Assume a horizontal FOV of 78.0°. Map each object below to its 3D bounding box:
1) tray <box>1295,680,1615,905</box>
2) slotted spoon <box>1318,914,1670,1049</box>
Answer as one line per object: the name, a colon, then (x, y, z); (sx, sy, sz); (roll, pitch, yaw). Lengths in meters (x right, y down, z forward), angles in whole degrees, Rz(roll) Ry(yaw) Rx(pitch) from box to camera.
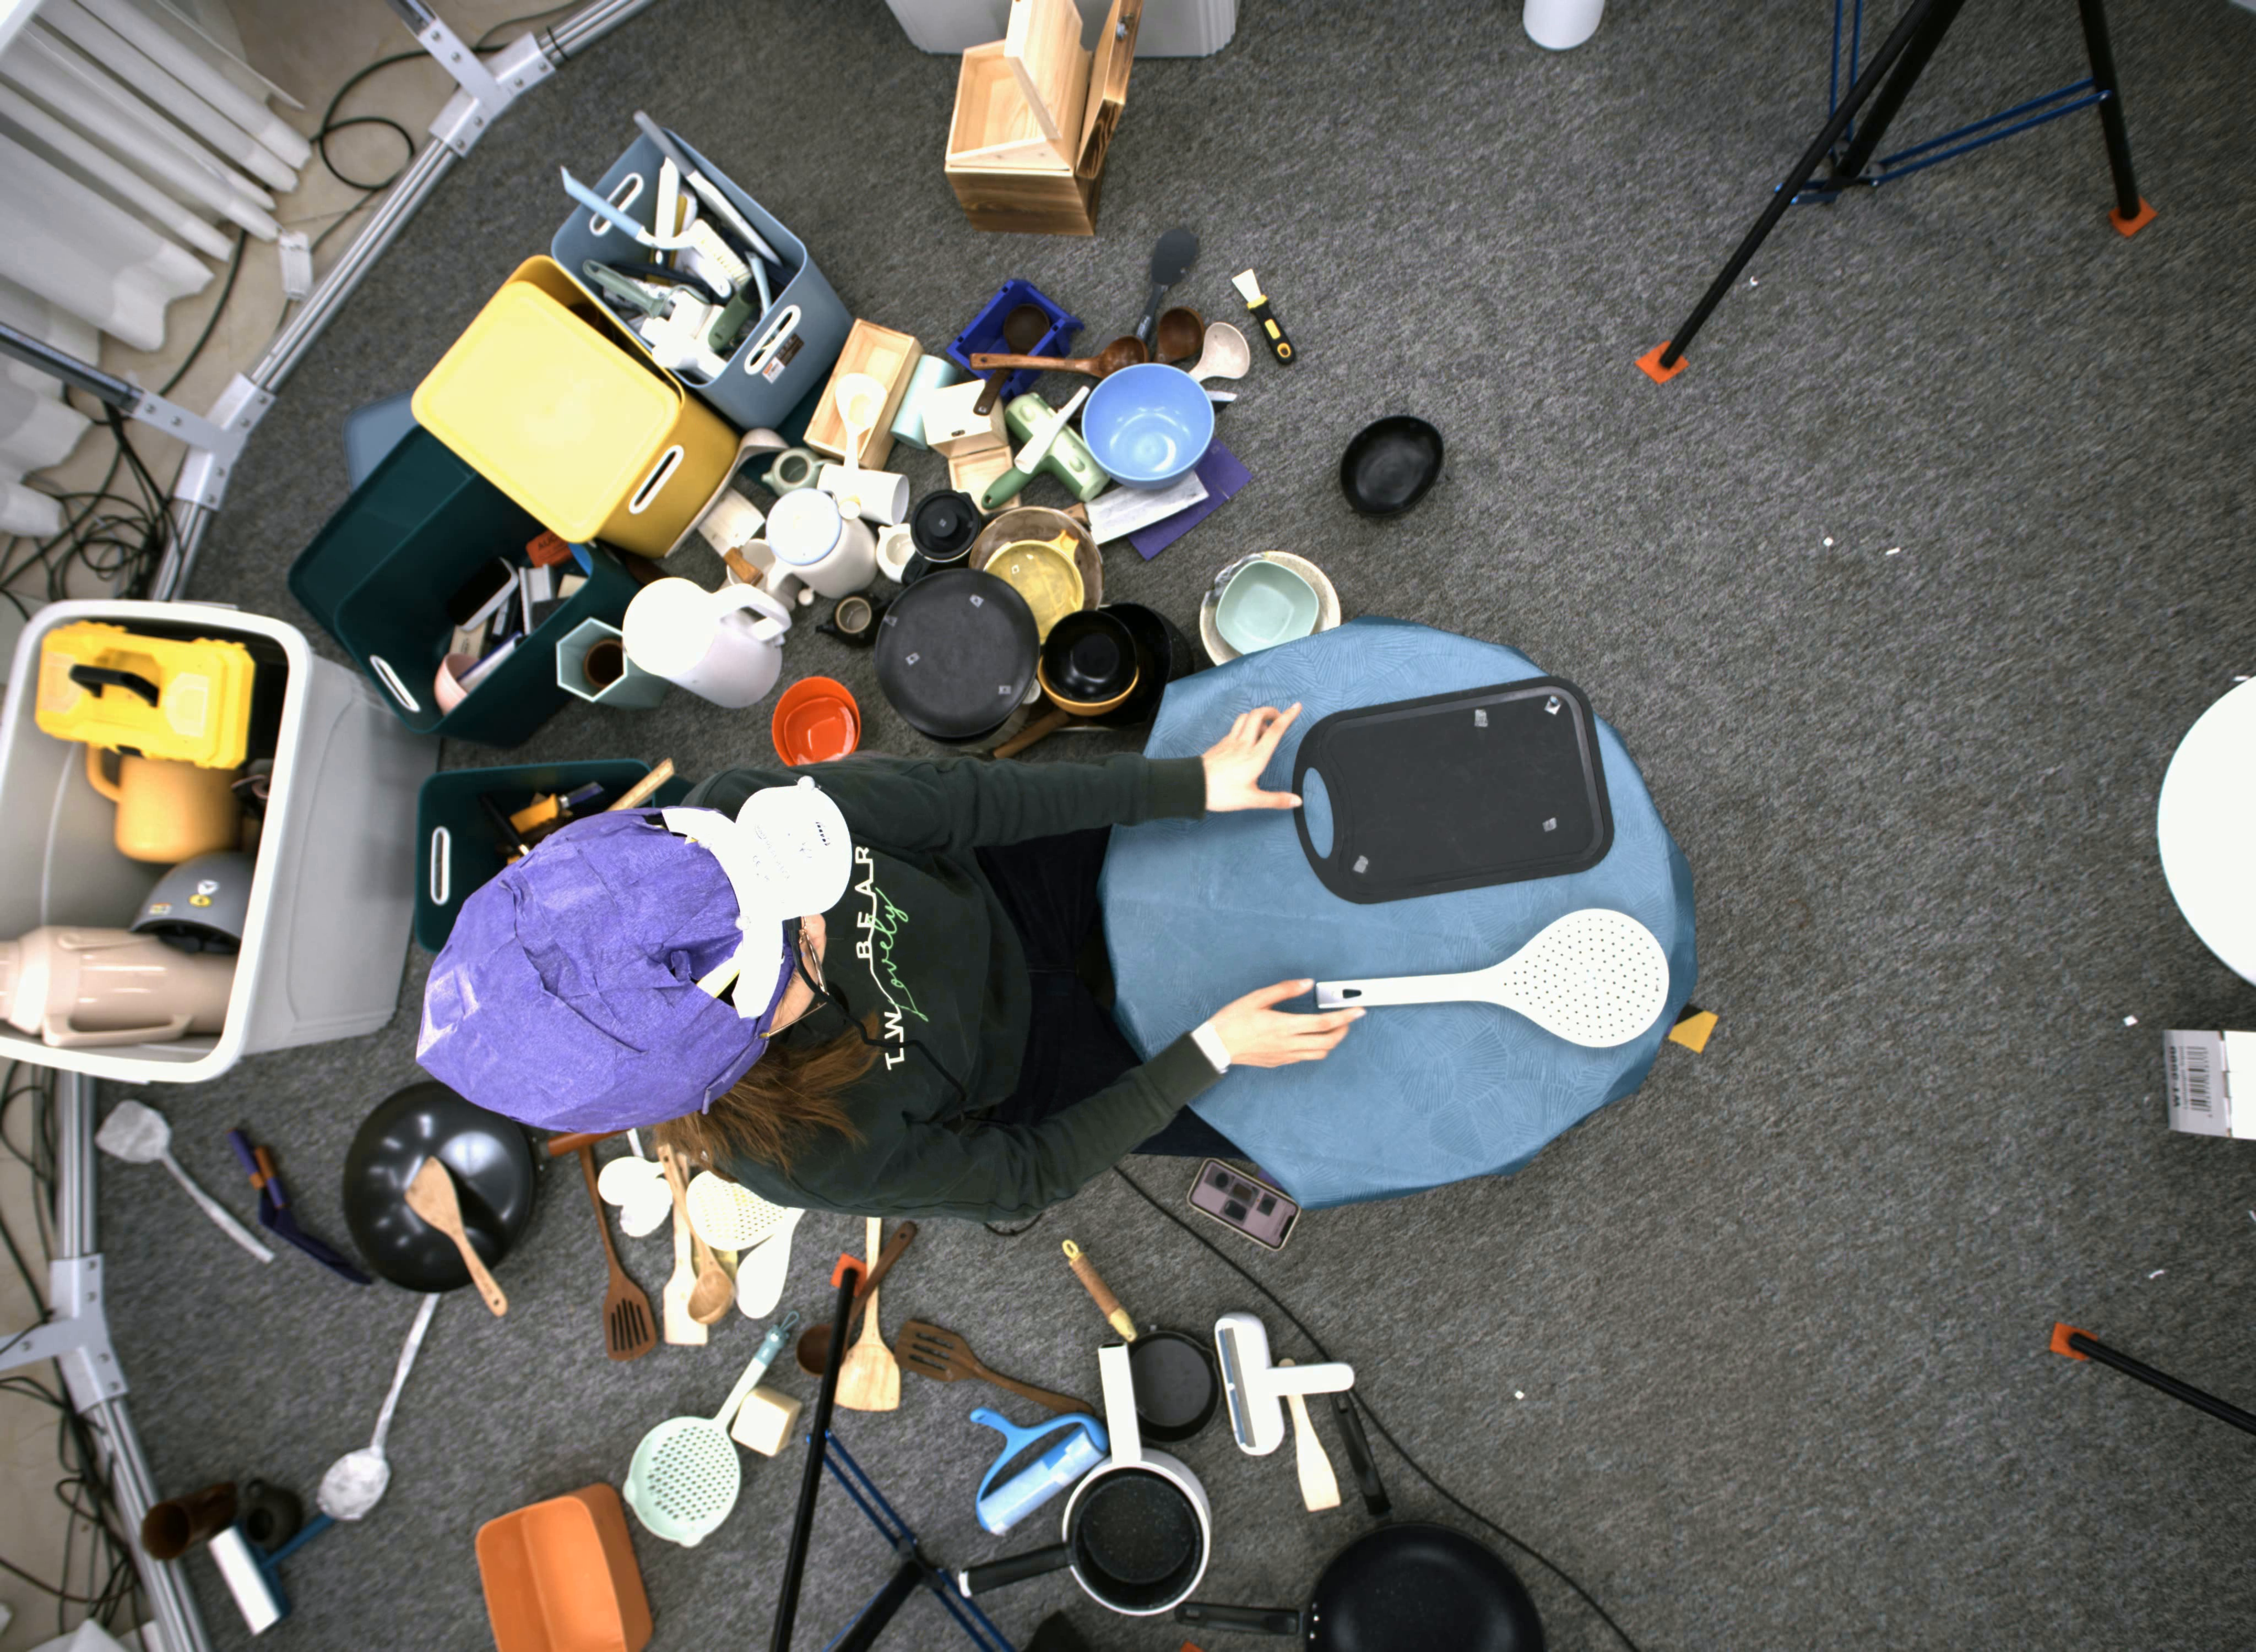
tray: (0.340, -0.035, 1.456); (0.327, 0.010, 0.210); (-9, 84, 10)
slotted spoon: (0.371, 0.164, 1.417); (0.351, 0.046, 0.135); (-5, 83, 11)
